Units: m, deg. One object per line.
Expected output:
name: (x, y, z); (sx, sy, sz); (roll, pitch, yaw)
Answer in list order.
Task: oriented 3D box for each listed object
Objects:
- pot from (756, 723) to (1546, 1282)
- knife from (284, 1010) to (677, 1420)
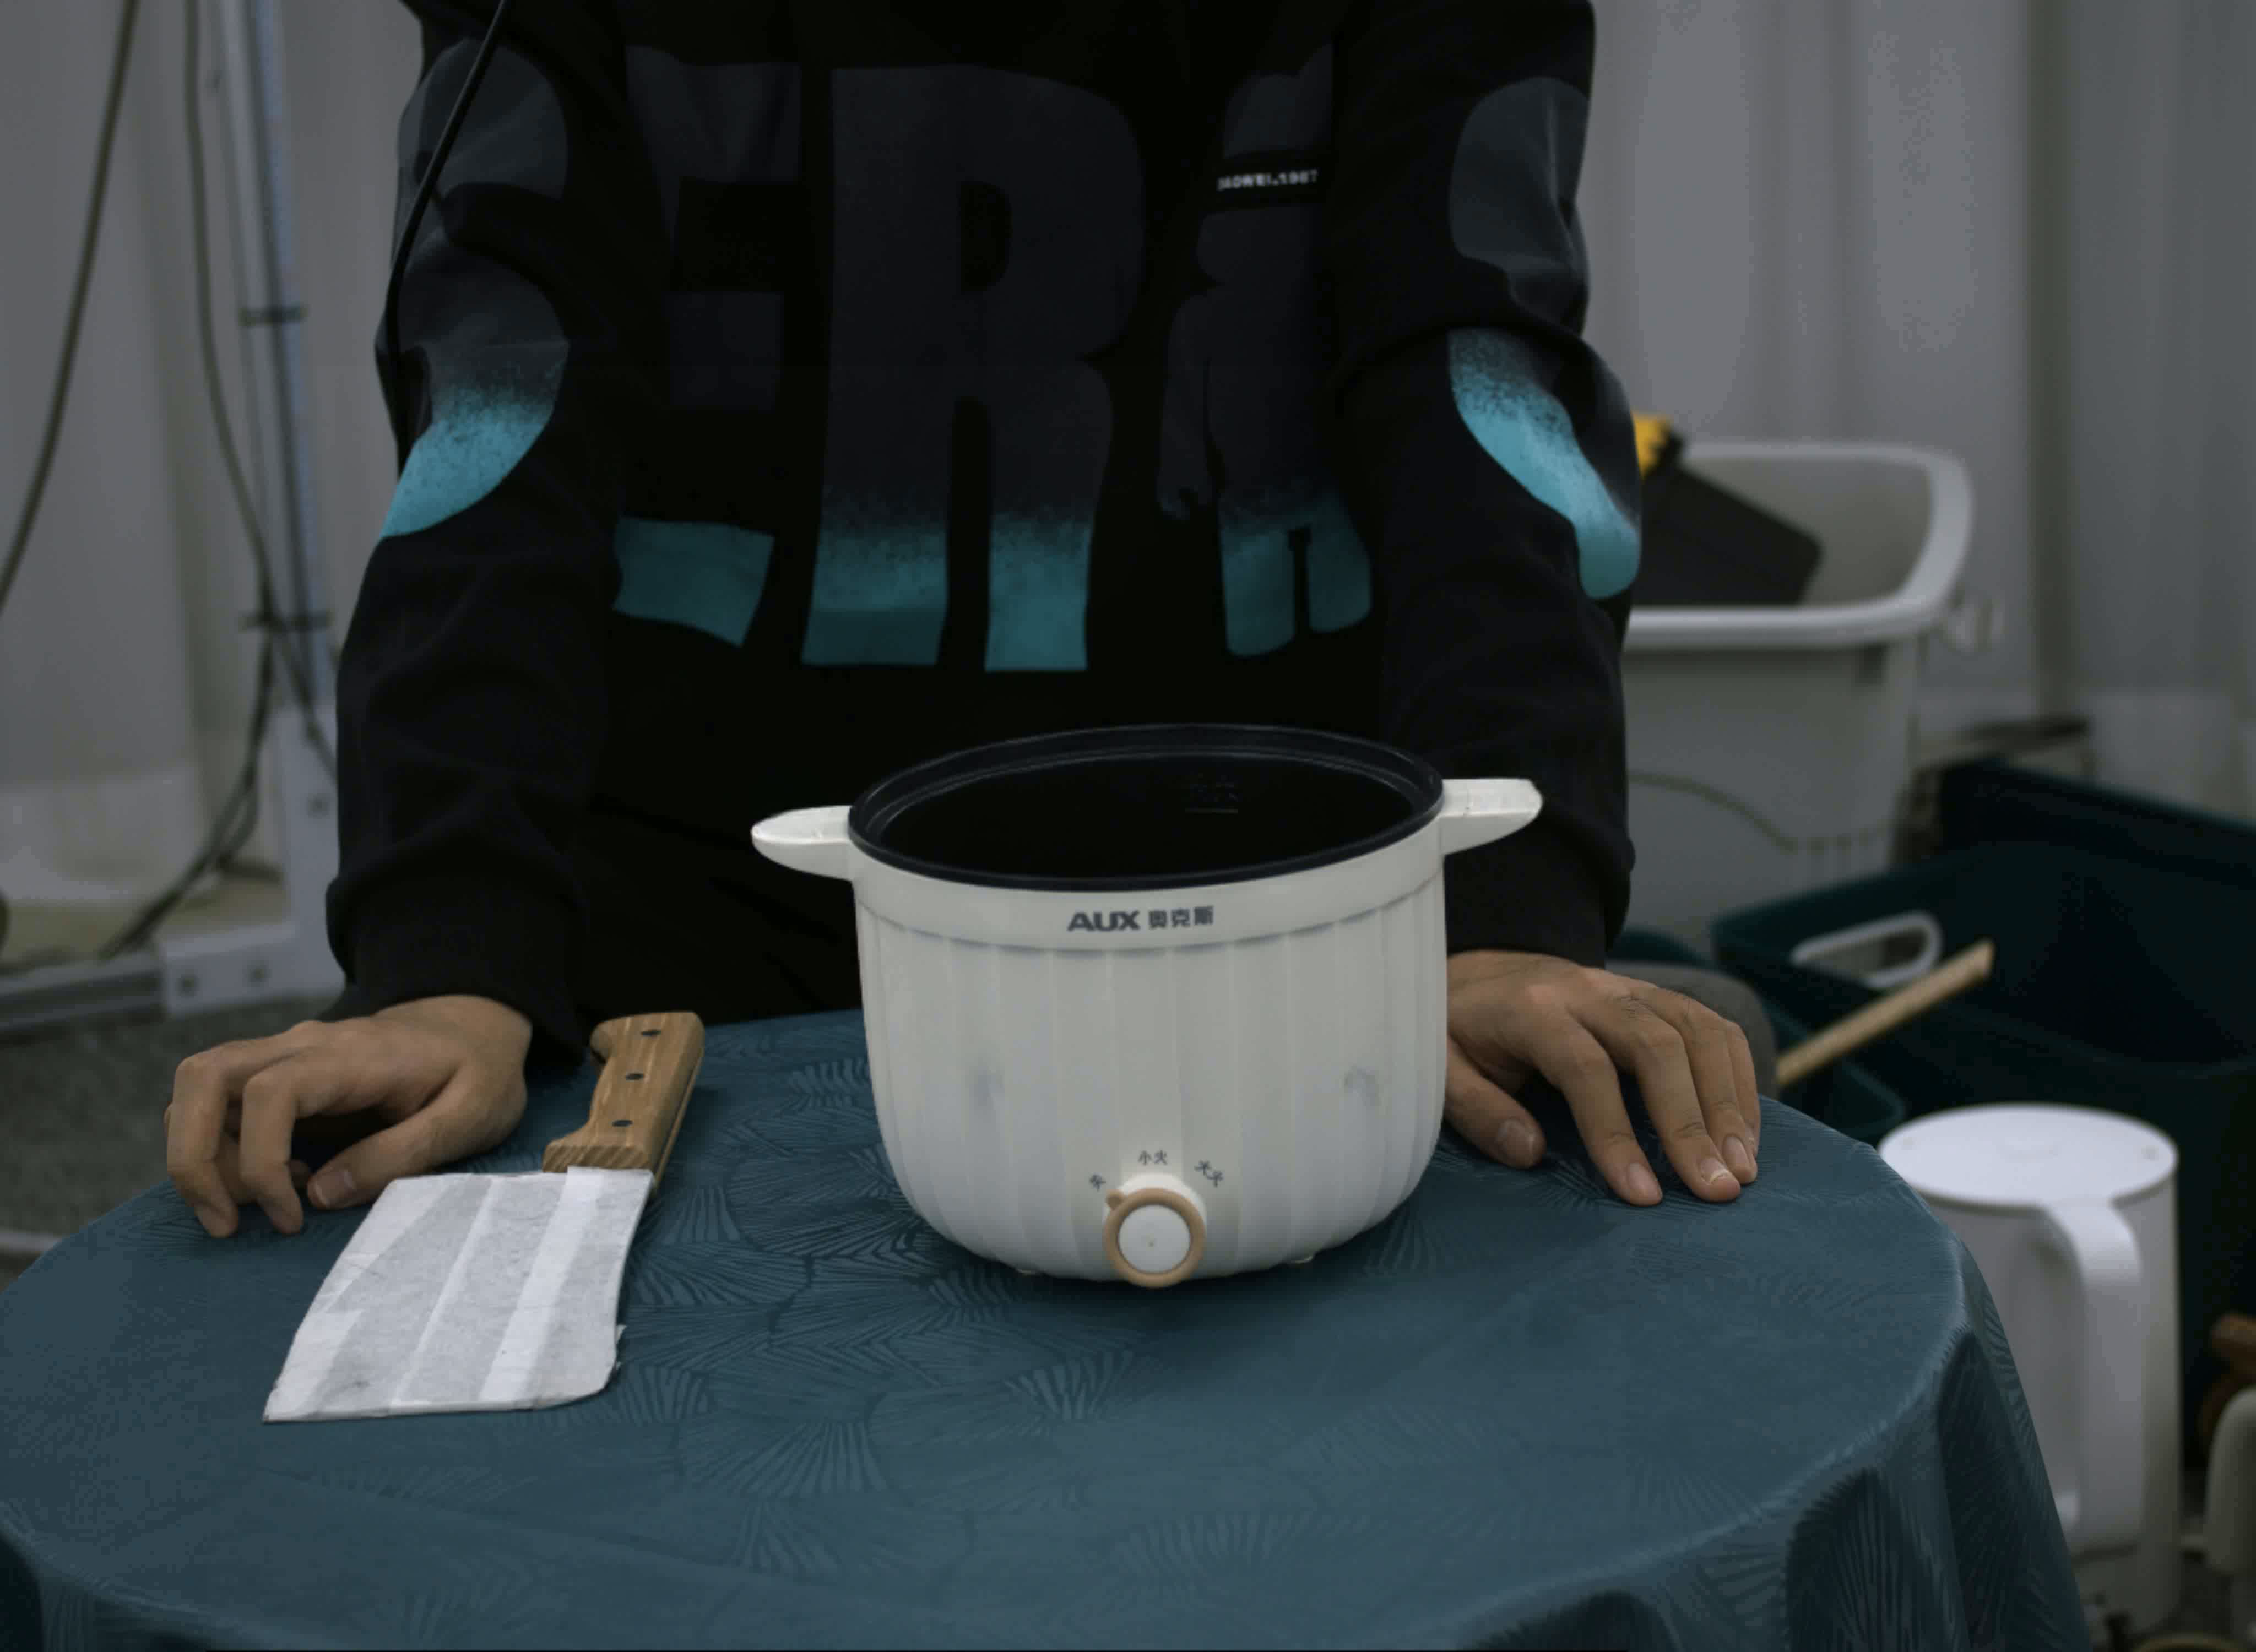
pot: (0.011, 0.056, 1.664); (0.239, 0.142, 0.191); (-3, 11, 3)
knife: (-0.183, 0.120, 1.698); (0.114, 0.021, 0.317); (-1, 18, 8)
